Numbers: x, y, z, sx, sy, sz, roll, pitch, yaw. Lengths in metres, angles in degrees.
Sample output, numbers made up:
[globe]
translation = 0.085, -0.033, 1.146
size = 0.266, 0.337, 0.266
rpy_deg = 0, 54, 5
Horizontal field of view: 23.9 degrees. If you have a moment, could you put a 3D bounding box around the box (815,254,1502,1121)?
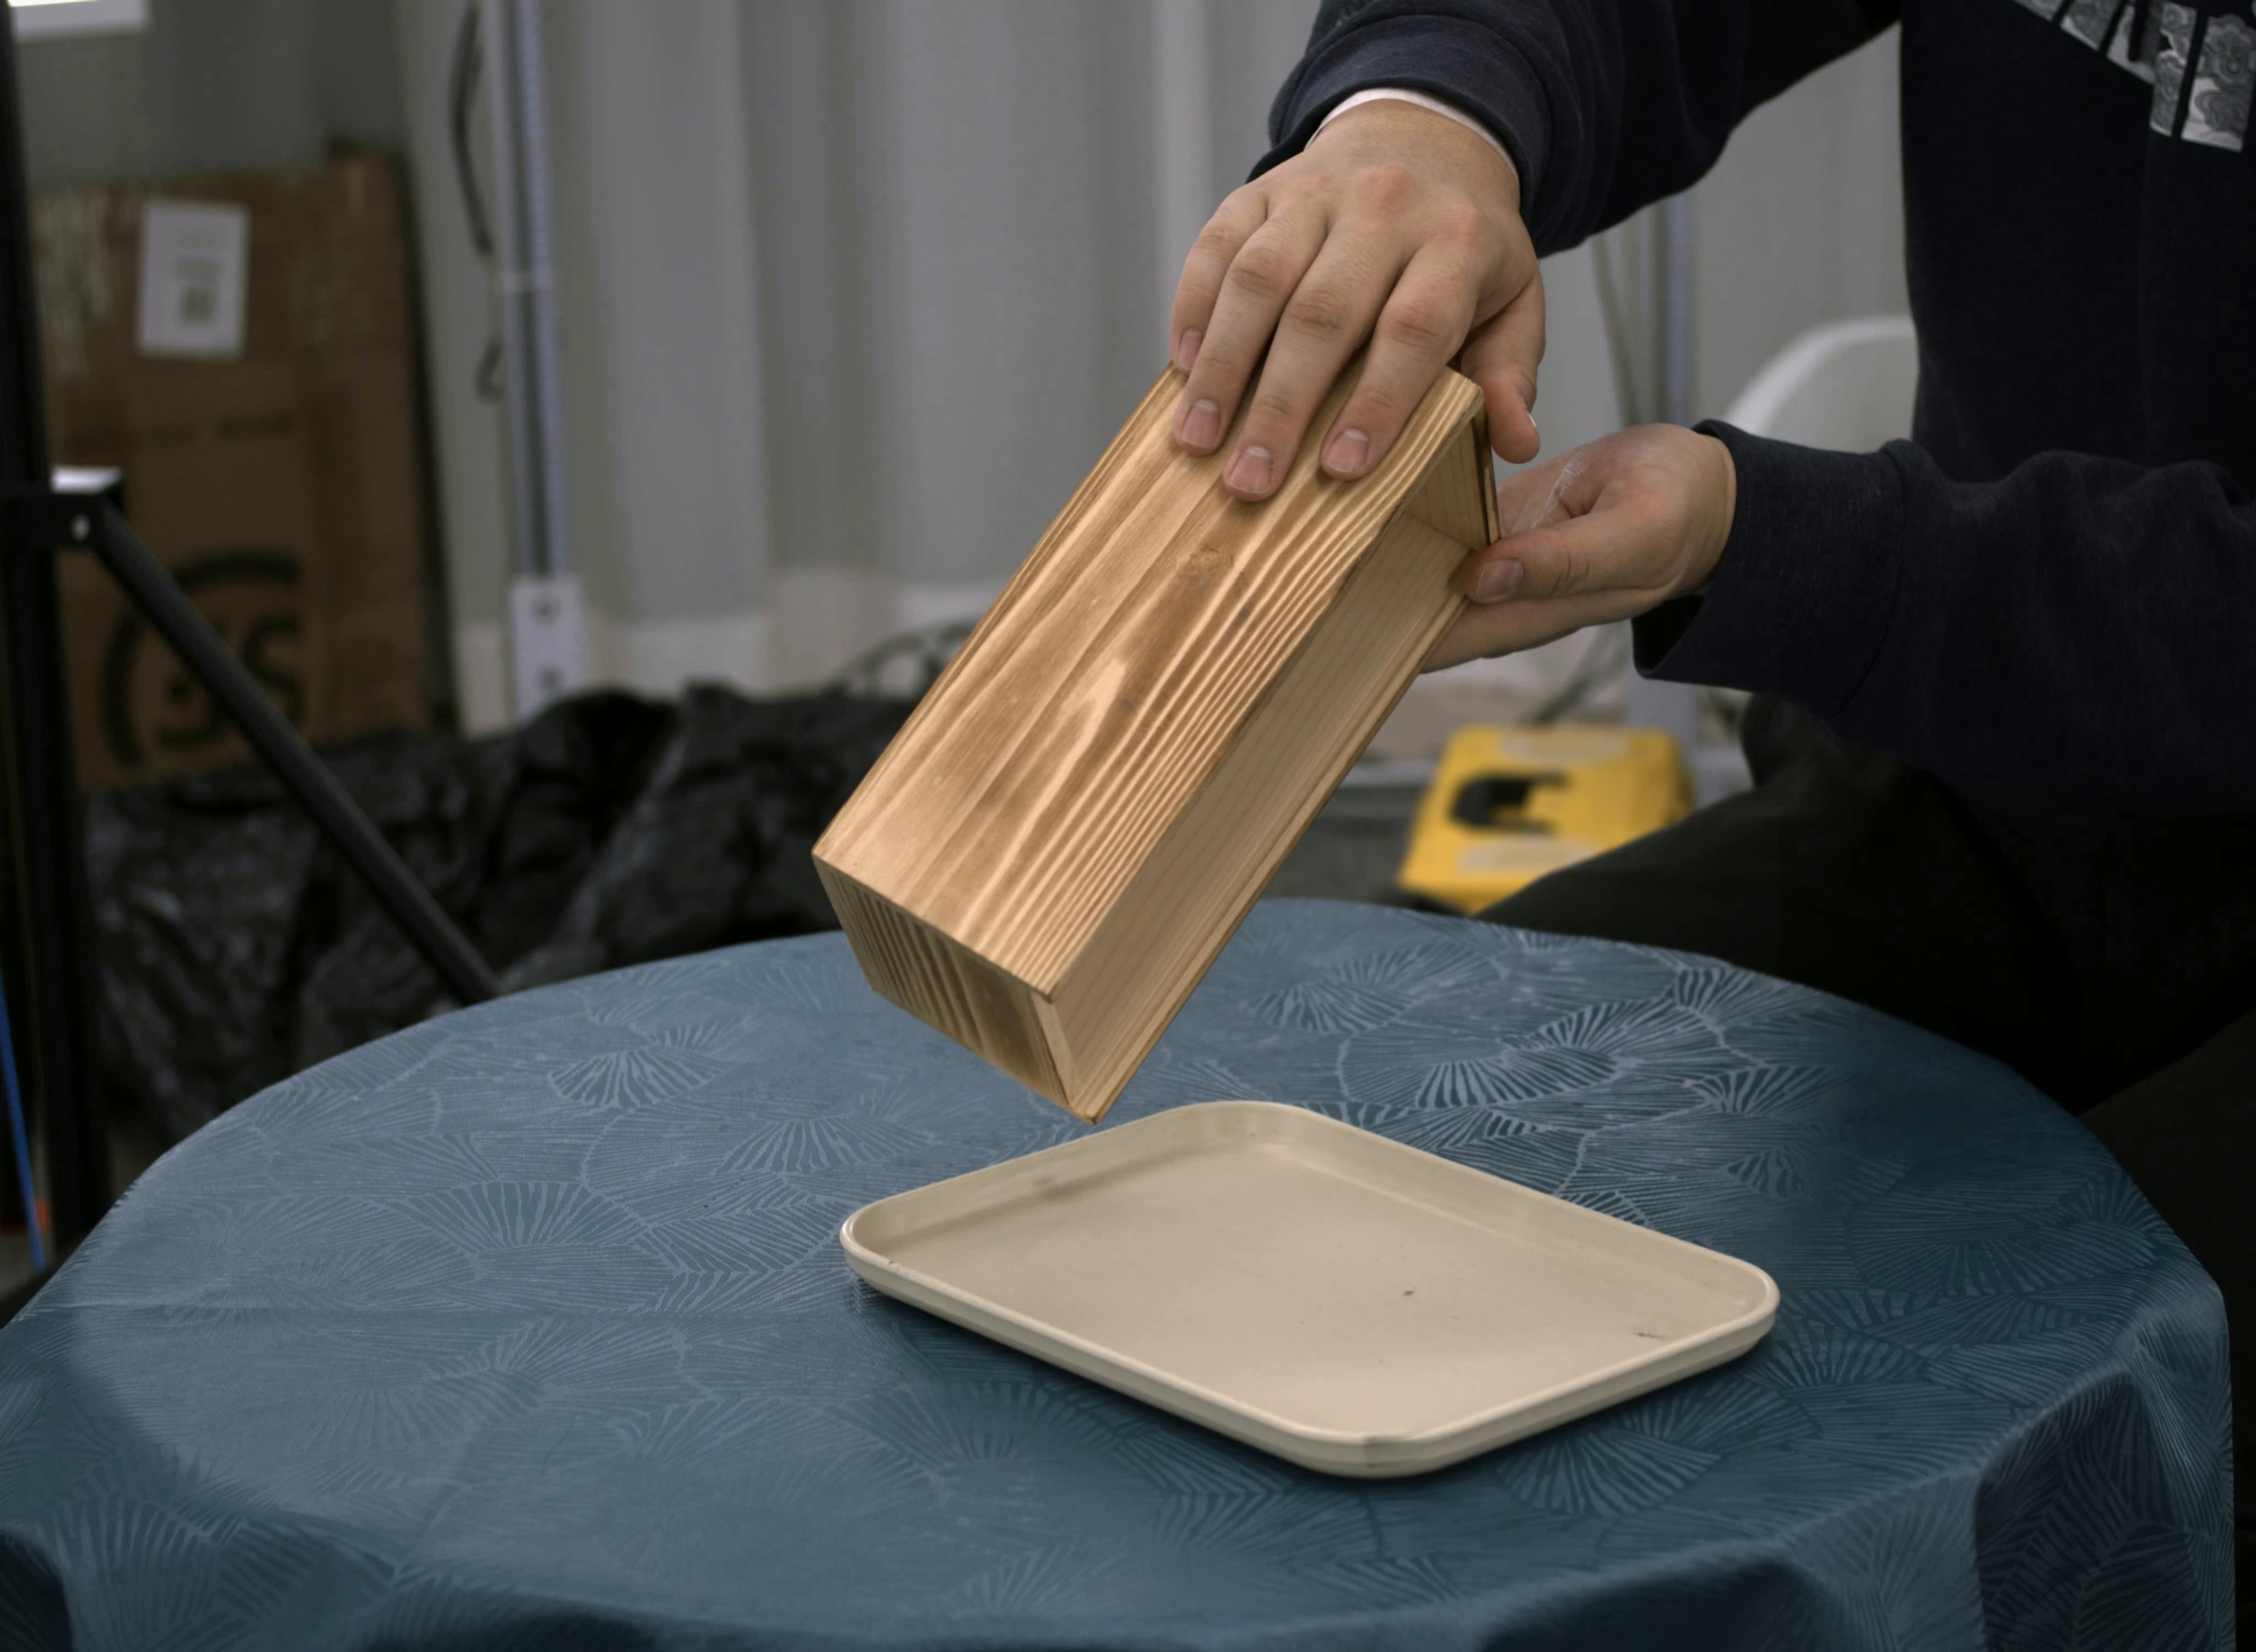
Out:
[box]
translation = 0.012, -0.038, 1.478
size = 0.081, 0.211, 0.106
rpy_deg = 31, -15, 19

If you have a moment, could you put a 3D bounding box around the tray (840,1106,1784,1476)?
[tray]
translation = 0.048, 0.126, 1.456
size = 0.167, 0.017, 0.245
rpy_deg = -14, 19, -37
